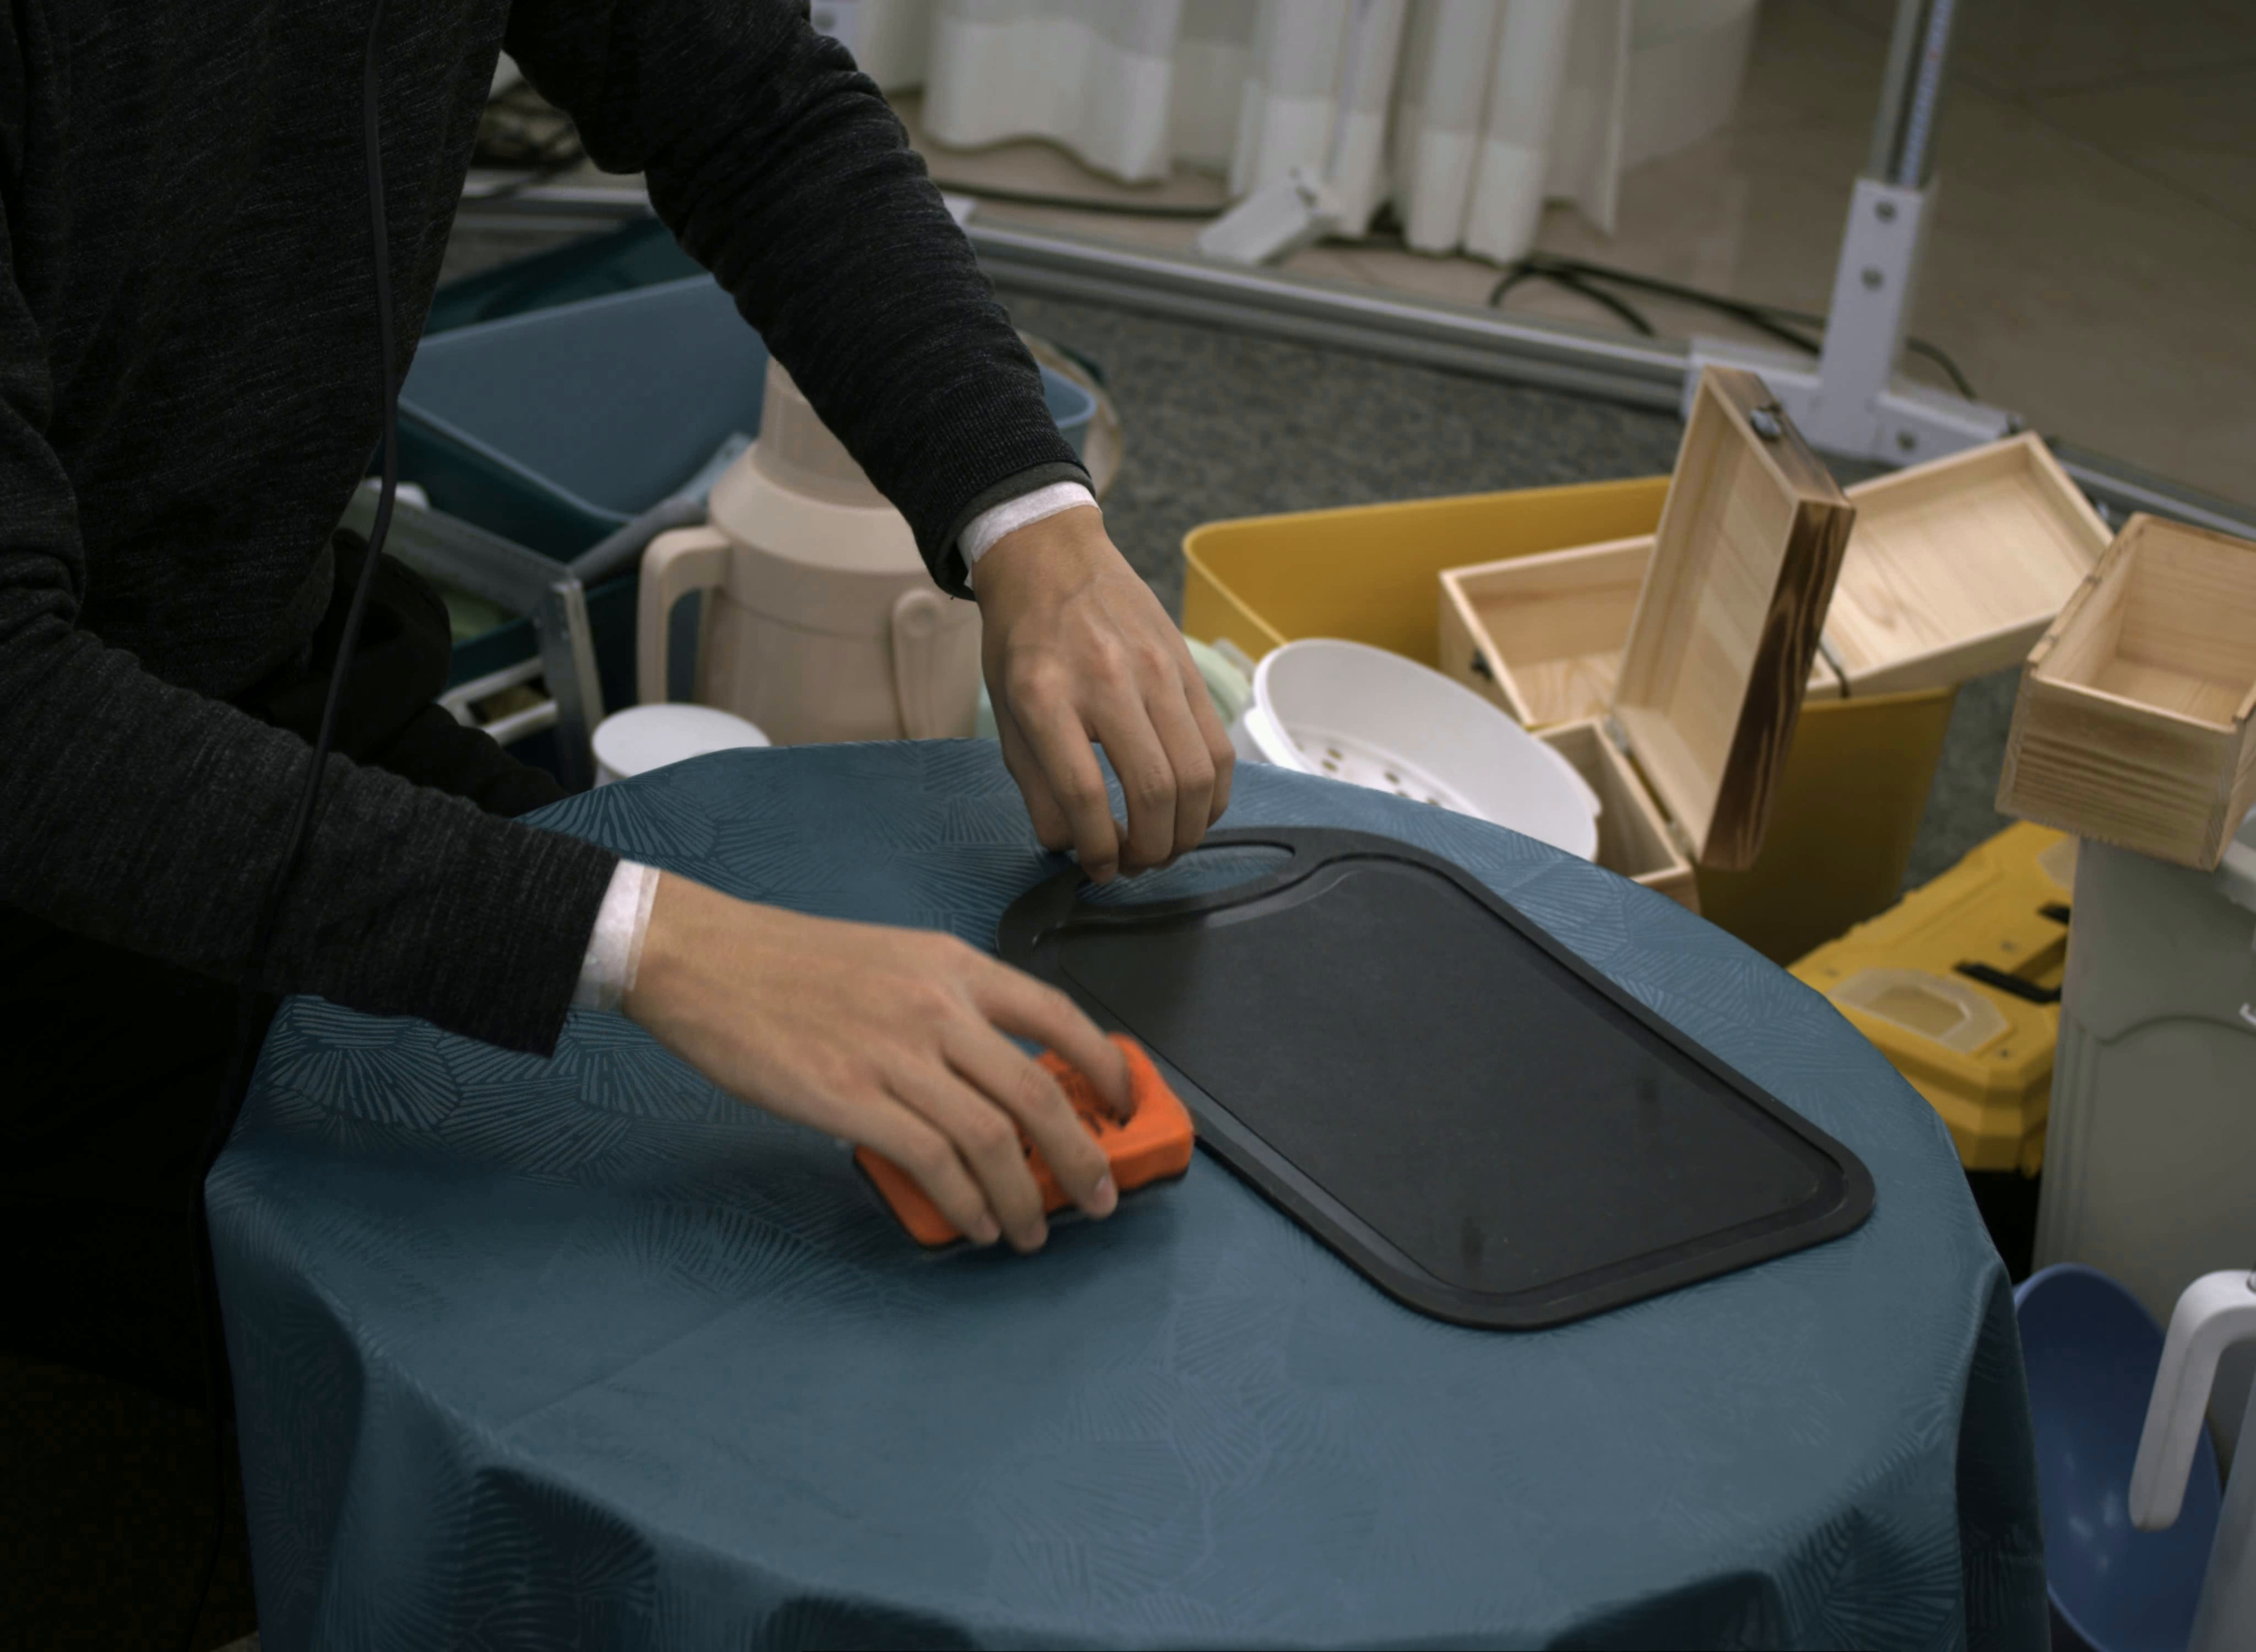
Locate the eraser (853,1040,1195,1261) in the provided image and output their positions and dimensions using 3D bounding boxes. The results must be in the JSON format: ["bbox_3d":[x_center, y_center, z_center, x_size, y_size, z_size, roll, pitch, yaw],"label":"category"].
[{"bbox_3d":[-0.034,0.108,1.774,0.107,0.023,0.059,-16,38,-24],"label":"eraser"}]

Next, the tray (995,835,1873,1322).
[{"bbox_3d":[0.100,0.080,1.898,0.210,0.010,0.328,-12,33,-33],"label":"tray"}]
